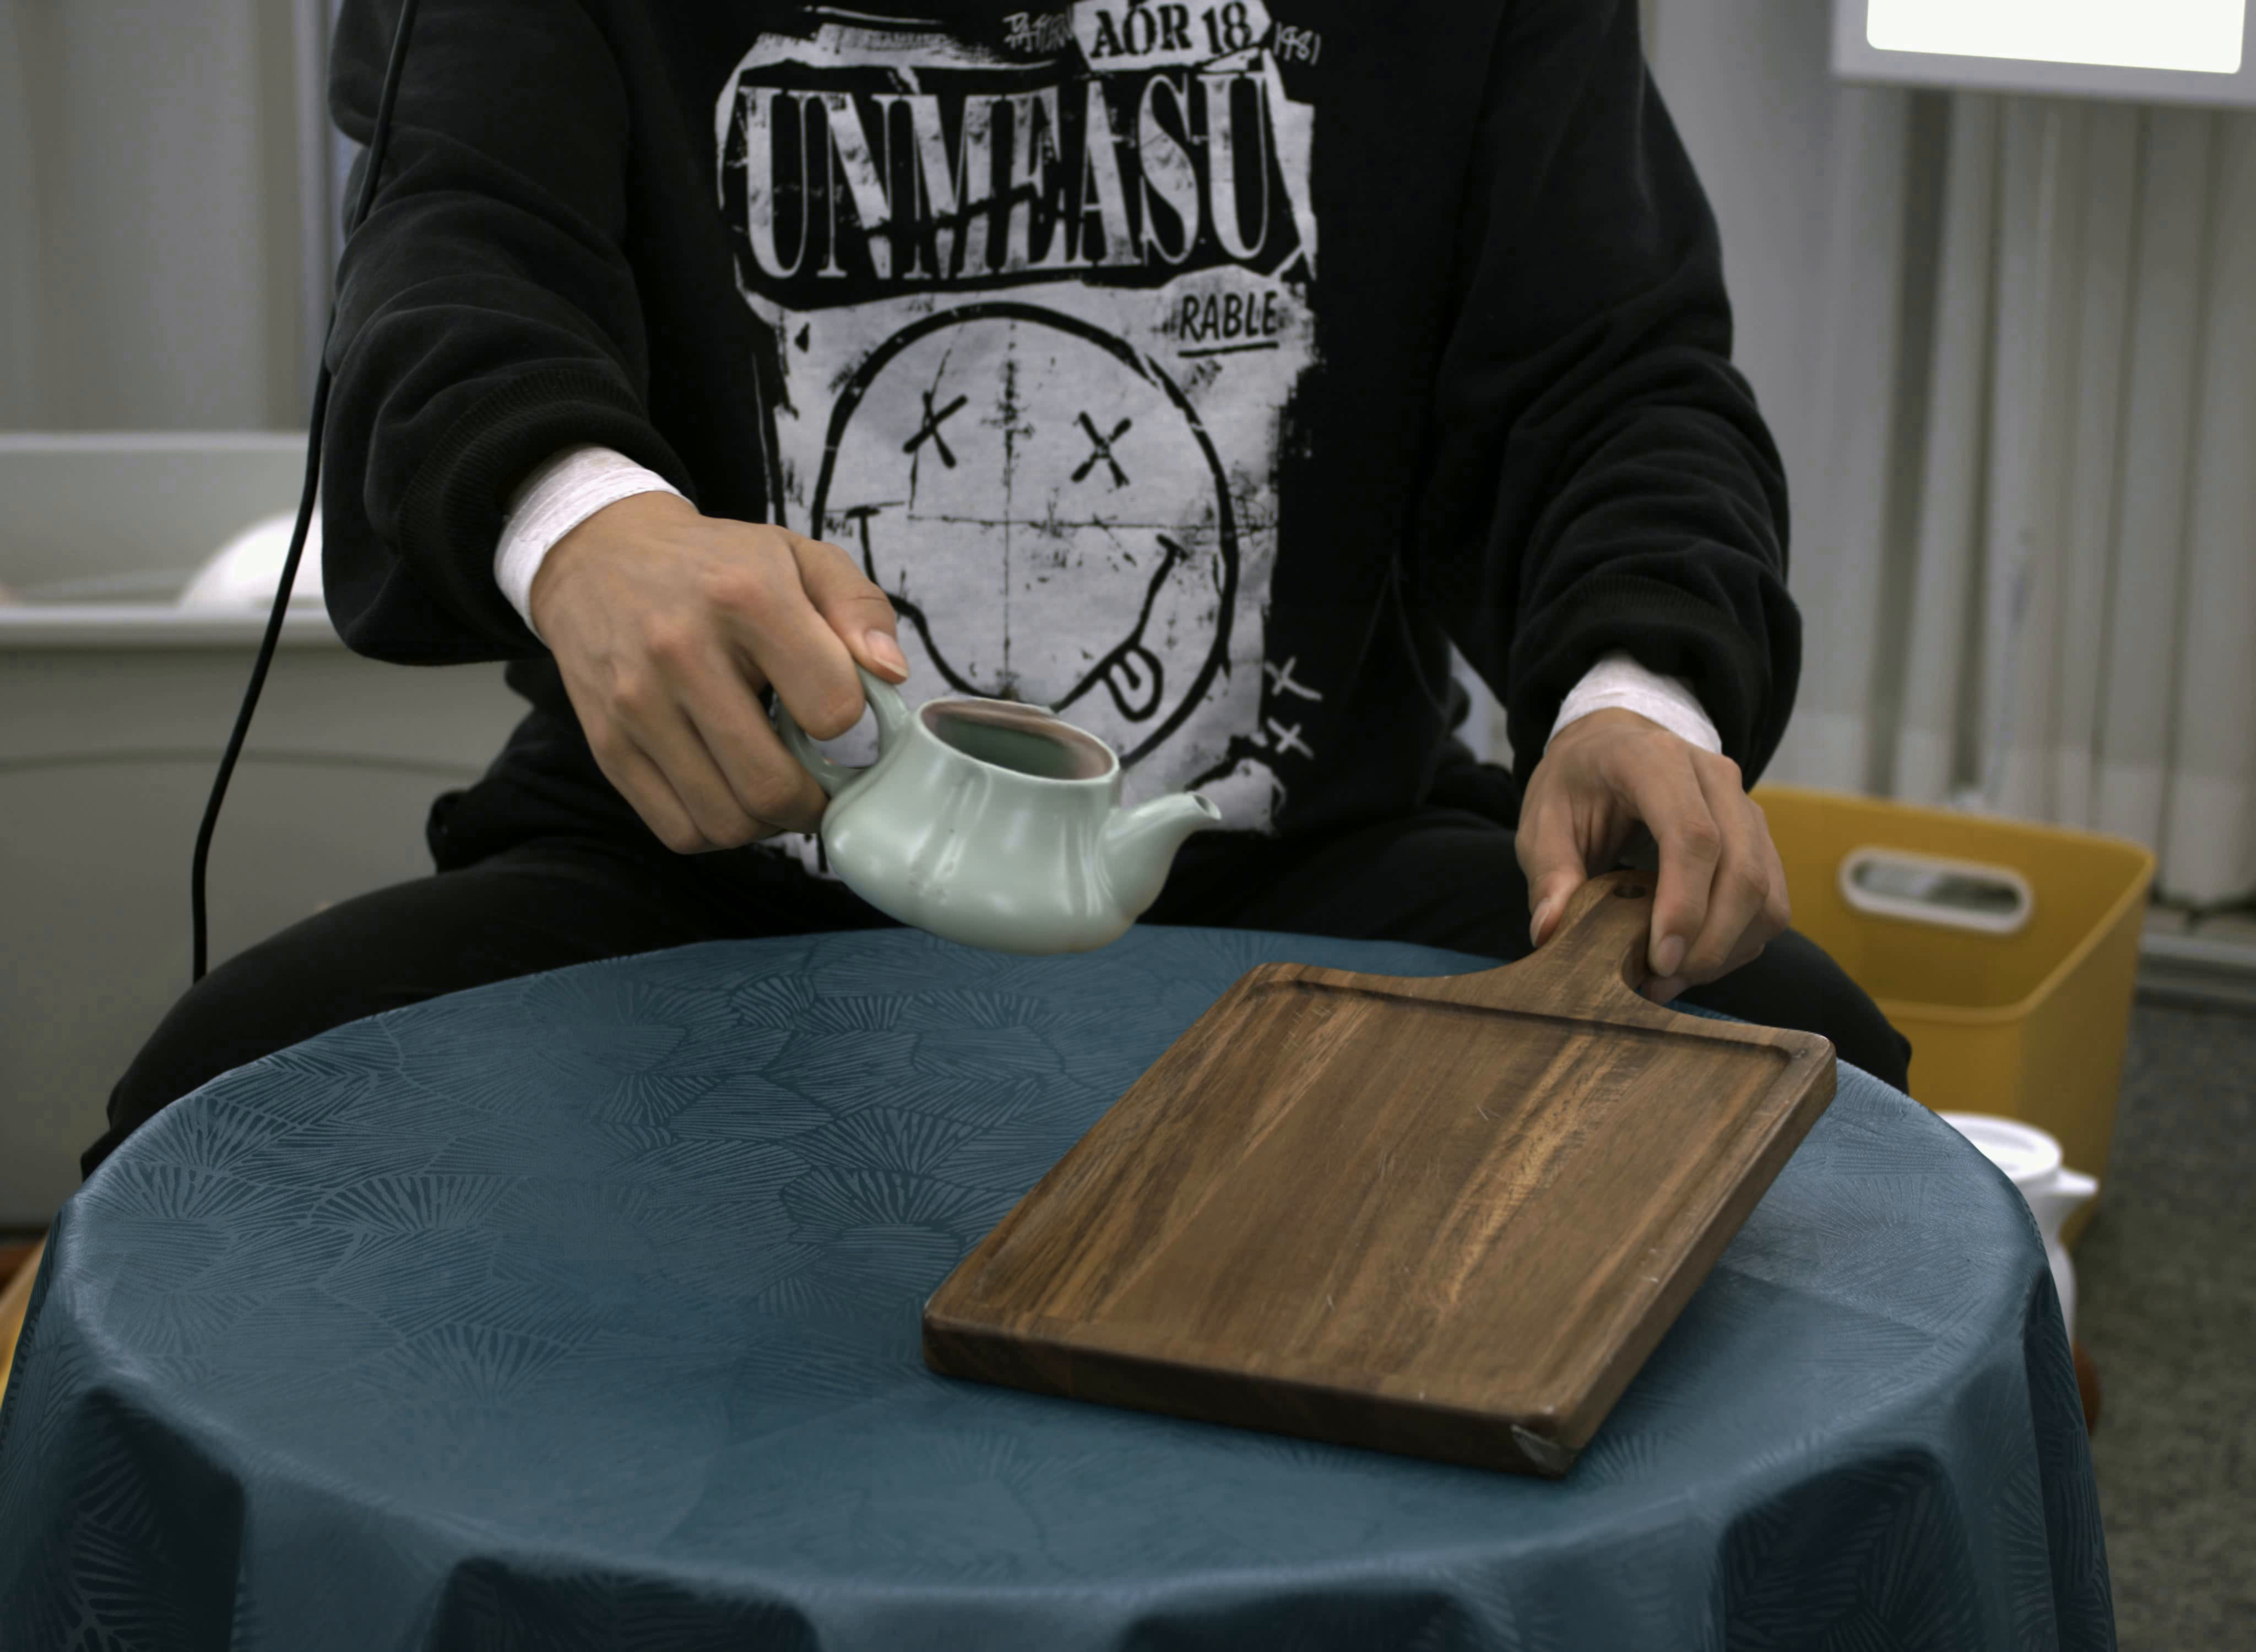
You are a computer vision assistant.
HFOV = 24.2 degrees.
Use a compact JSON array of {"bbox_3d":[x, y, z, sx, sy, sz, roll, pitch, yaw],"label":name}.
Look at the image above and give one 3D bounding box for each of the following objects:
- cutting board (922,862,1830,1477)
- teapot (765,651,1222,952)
[{"bbox_3d":[0.097,0.089,1.576,0.199,0.023,0.352,7,26,22],"label":"cutting board"},{"bbox_3d":[-0.044,-0.005,1.521,0.136,0.062,0.096,21,21,10],"label":"teapot"}]
